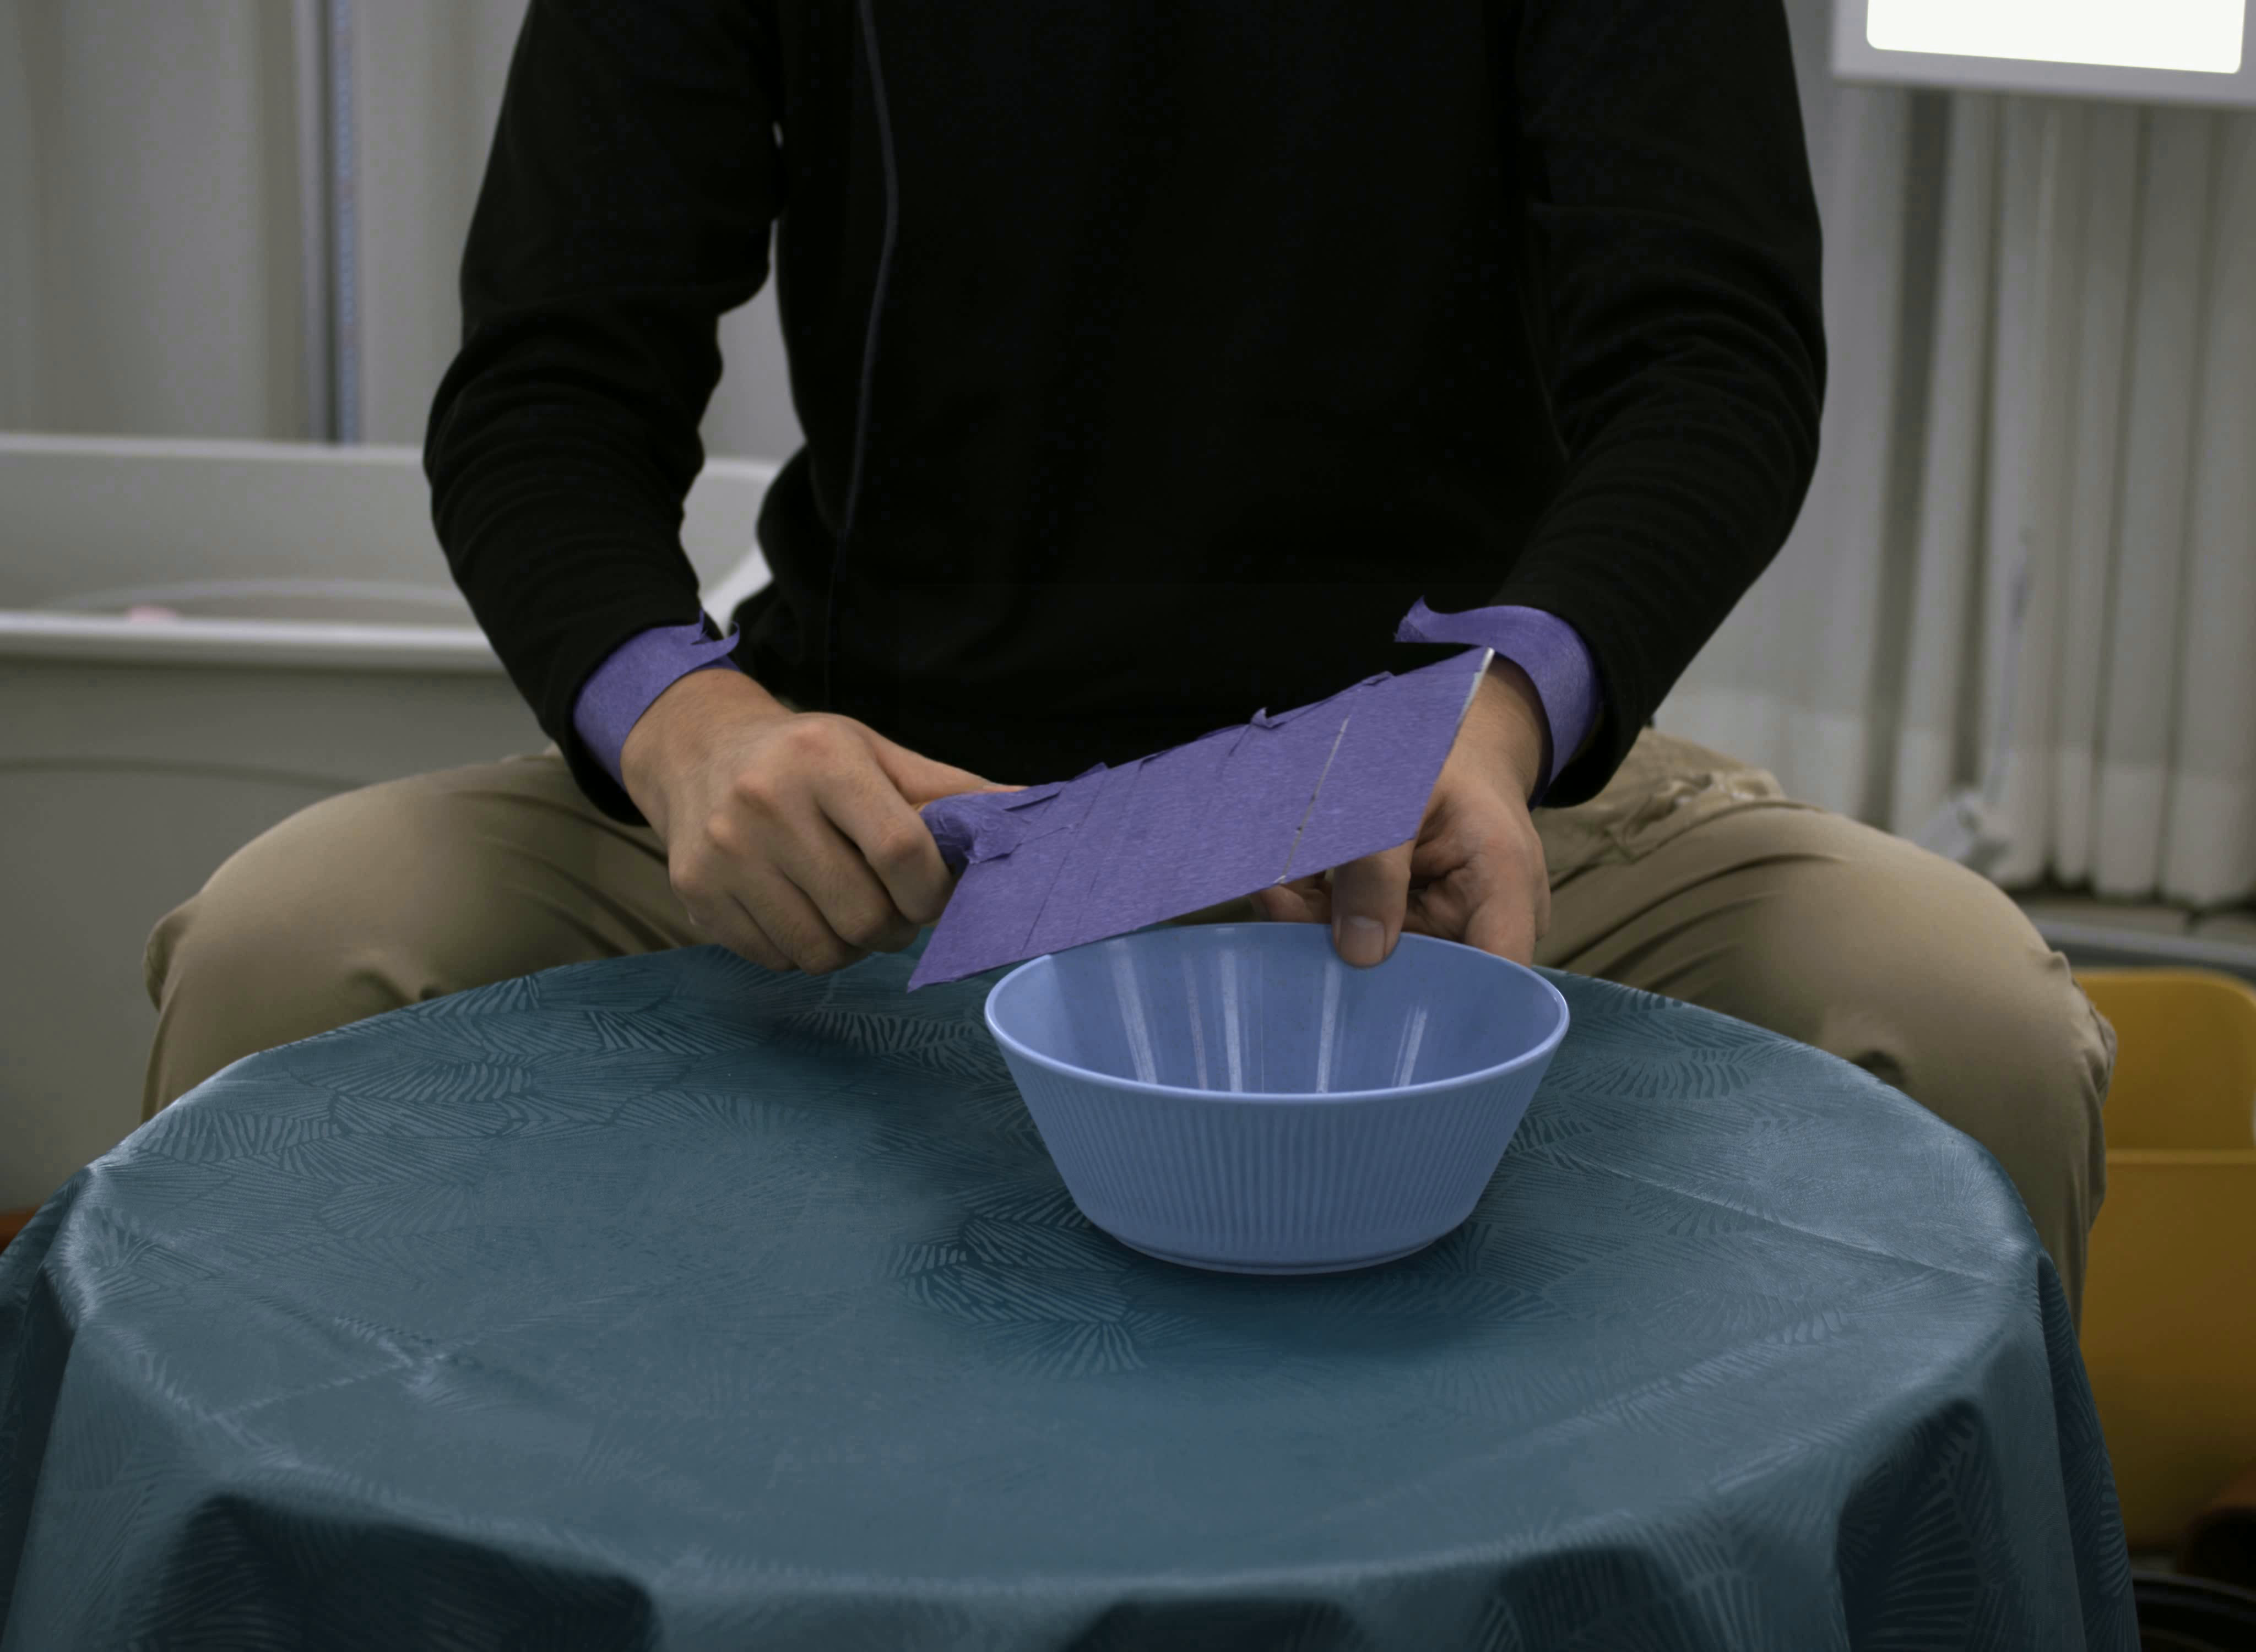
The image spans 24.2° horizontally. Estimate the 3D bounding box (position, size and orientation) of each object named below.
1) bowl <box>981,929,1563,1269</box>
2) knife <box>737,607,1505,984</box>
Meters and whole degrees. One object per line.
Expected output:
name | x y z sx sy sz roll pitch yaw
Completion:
bowl | 0.043 0.084 1.591 0.175 0.071 0.175 1 15 0
knife | -0.018 0.005 1.669 0.313 0.032 0.103 -20 30 38
